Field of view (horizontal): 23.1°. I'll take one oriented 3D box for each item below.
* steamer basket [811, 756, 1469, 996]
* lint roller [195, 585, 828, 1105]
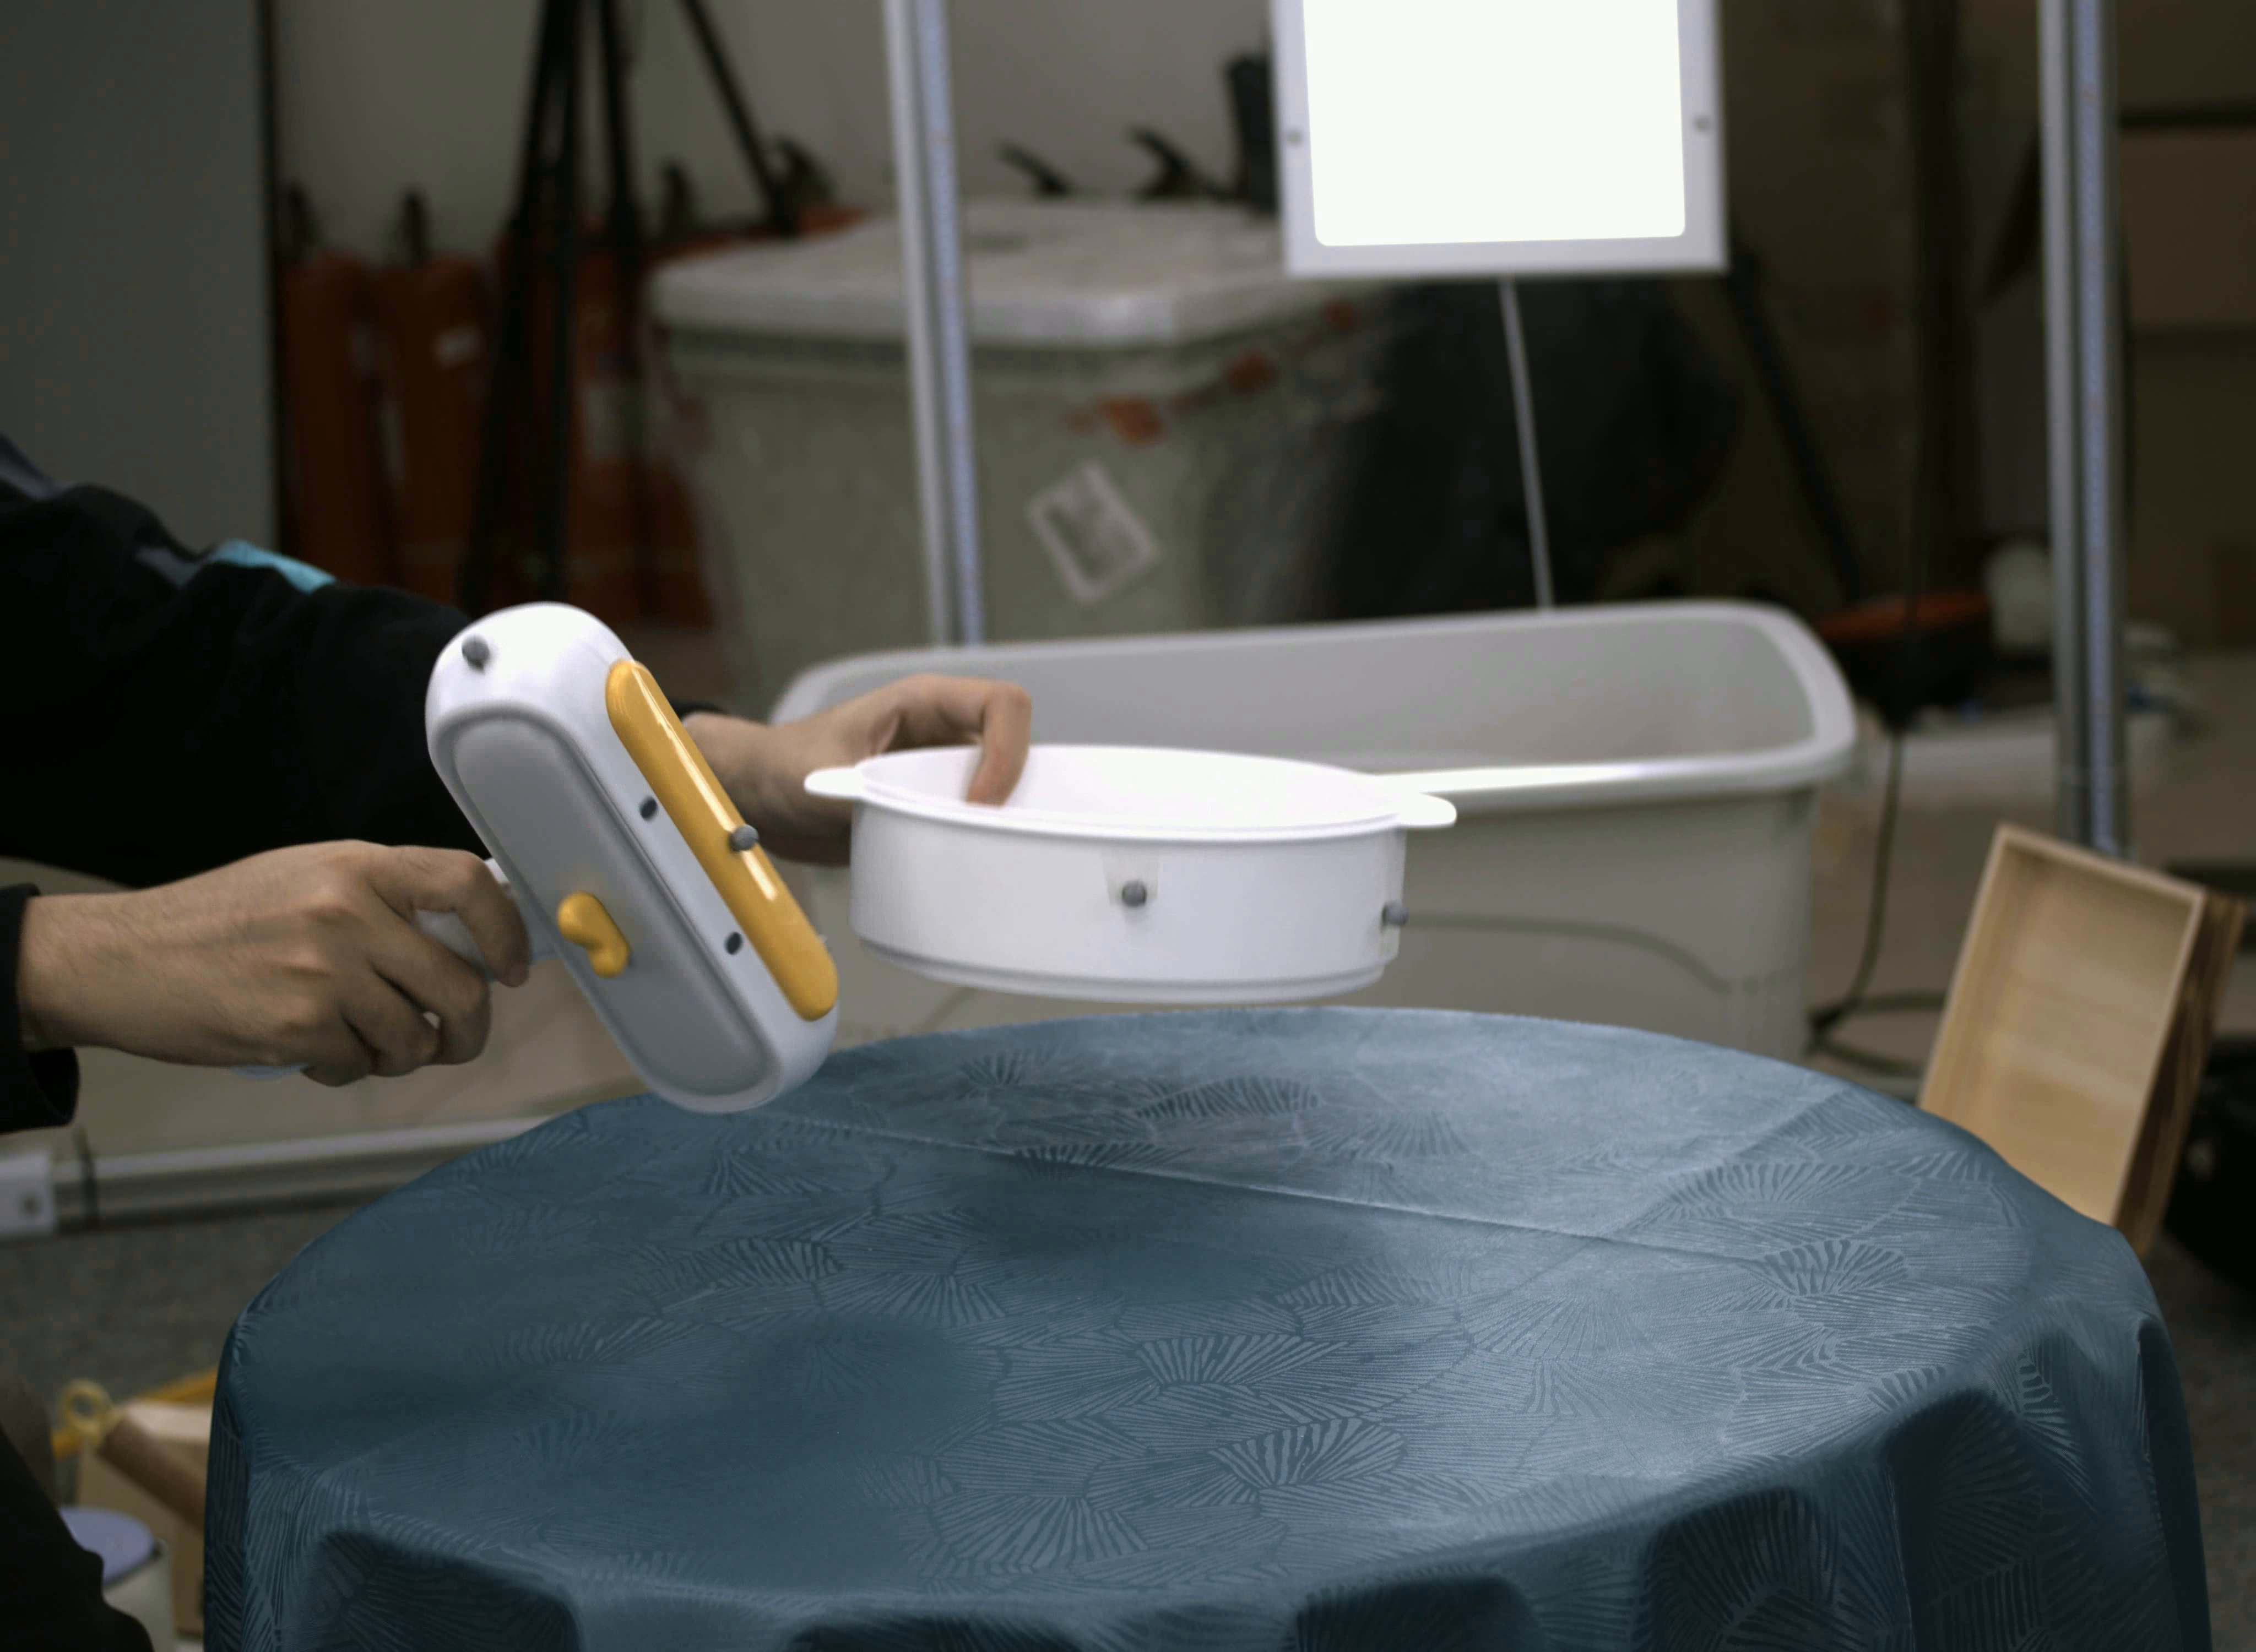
[{"bbox_3d":[0.004,0.017,1.924,0.230,0.069,0.201,0,6,3],"label":"steamer basket"},{"bbox_3d":[-0.215,0.031,1.783,0.195,0.191,0.073,-21,32,25],"label":"lint roller"}]
